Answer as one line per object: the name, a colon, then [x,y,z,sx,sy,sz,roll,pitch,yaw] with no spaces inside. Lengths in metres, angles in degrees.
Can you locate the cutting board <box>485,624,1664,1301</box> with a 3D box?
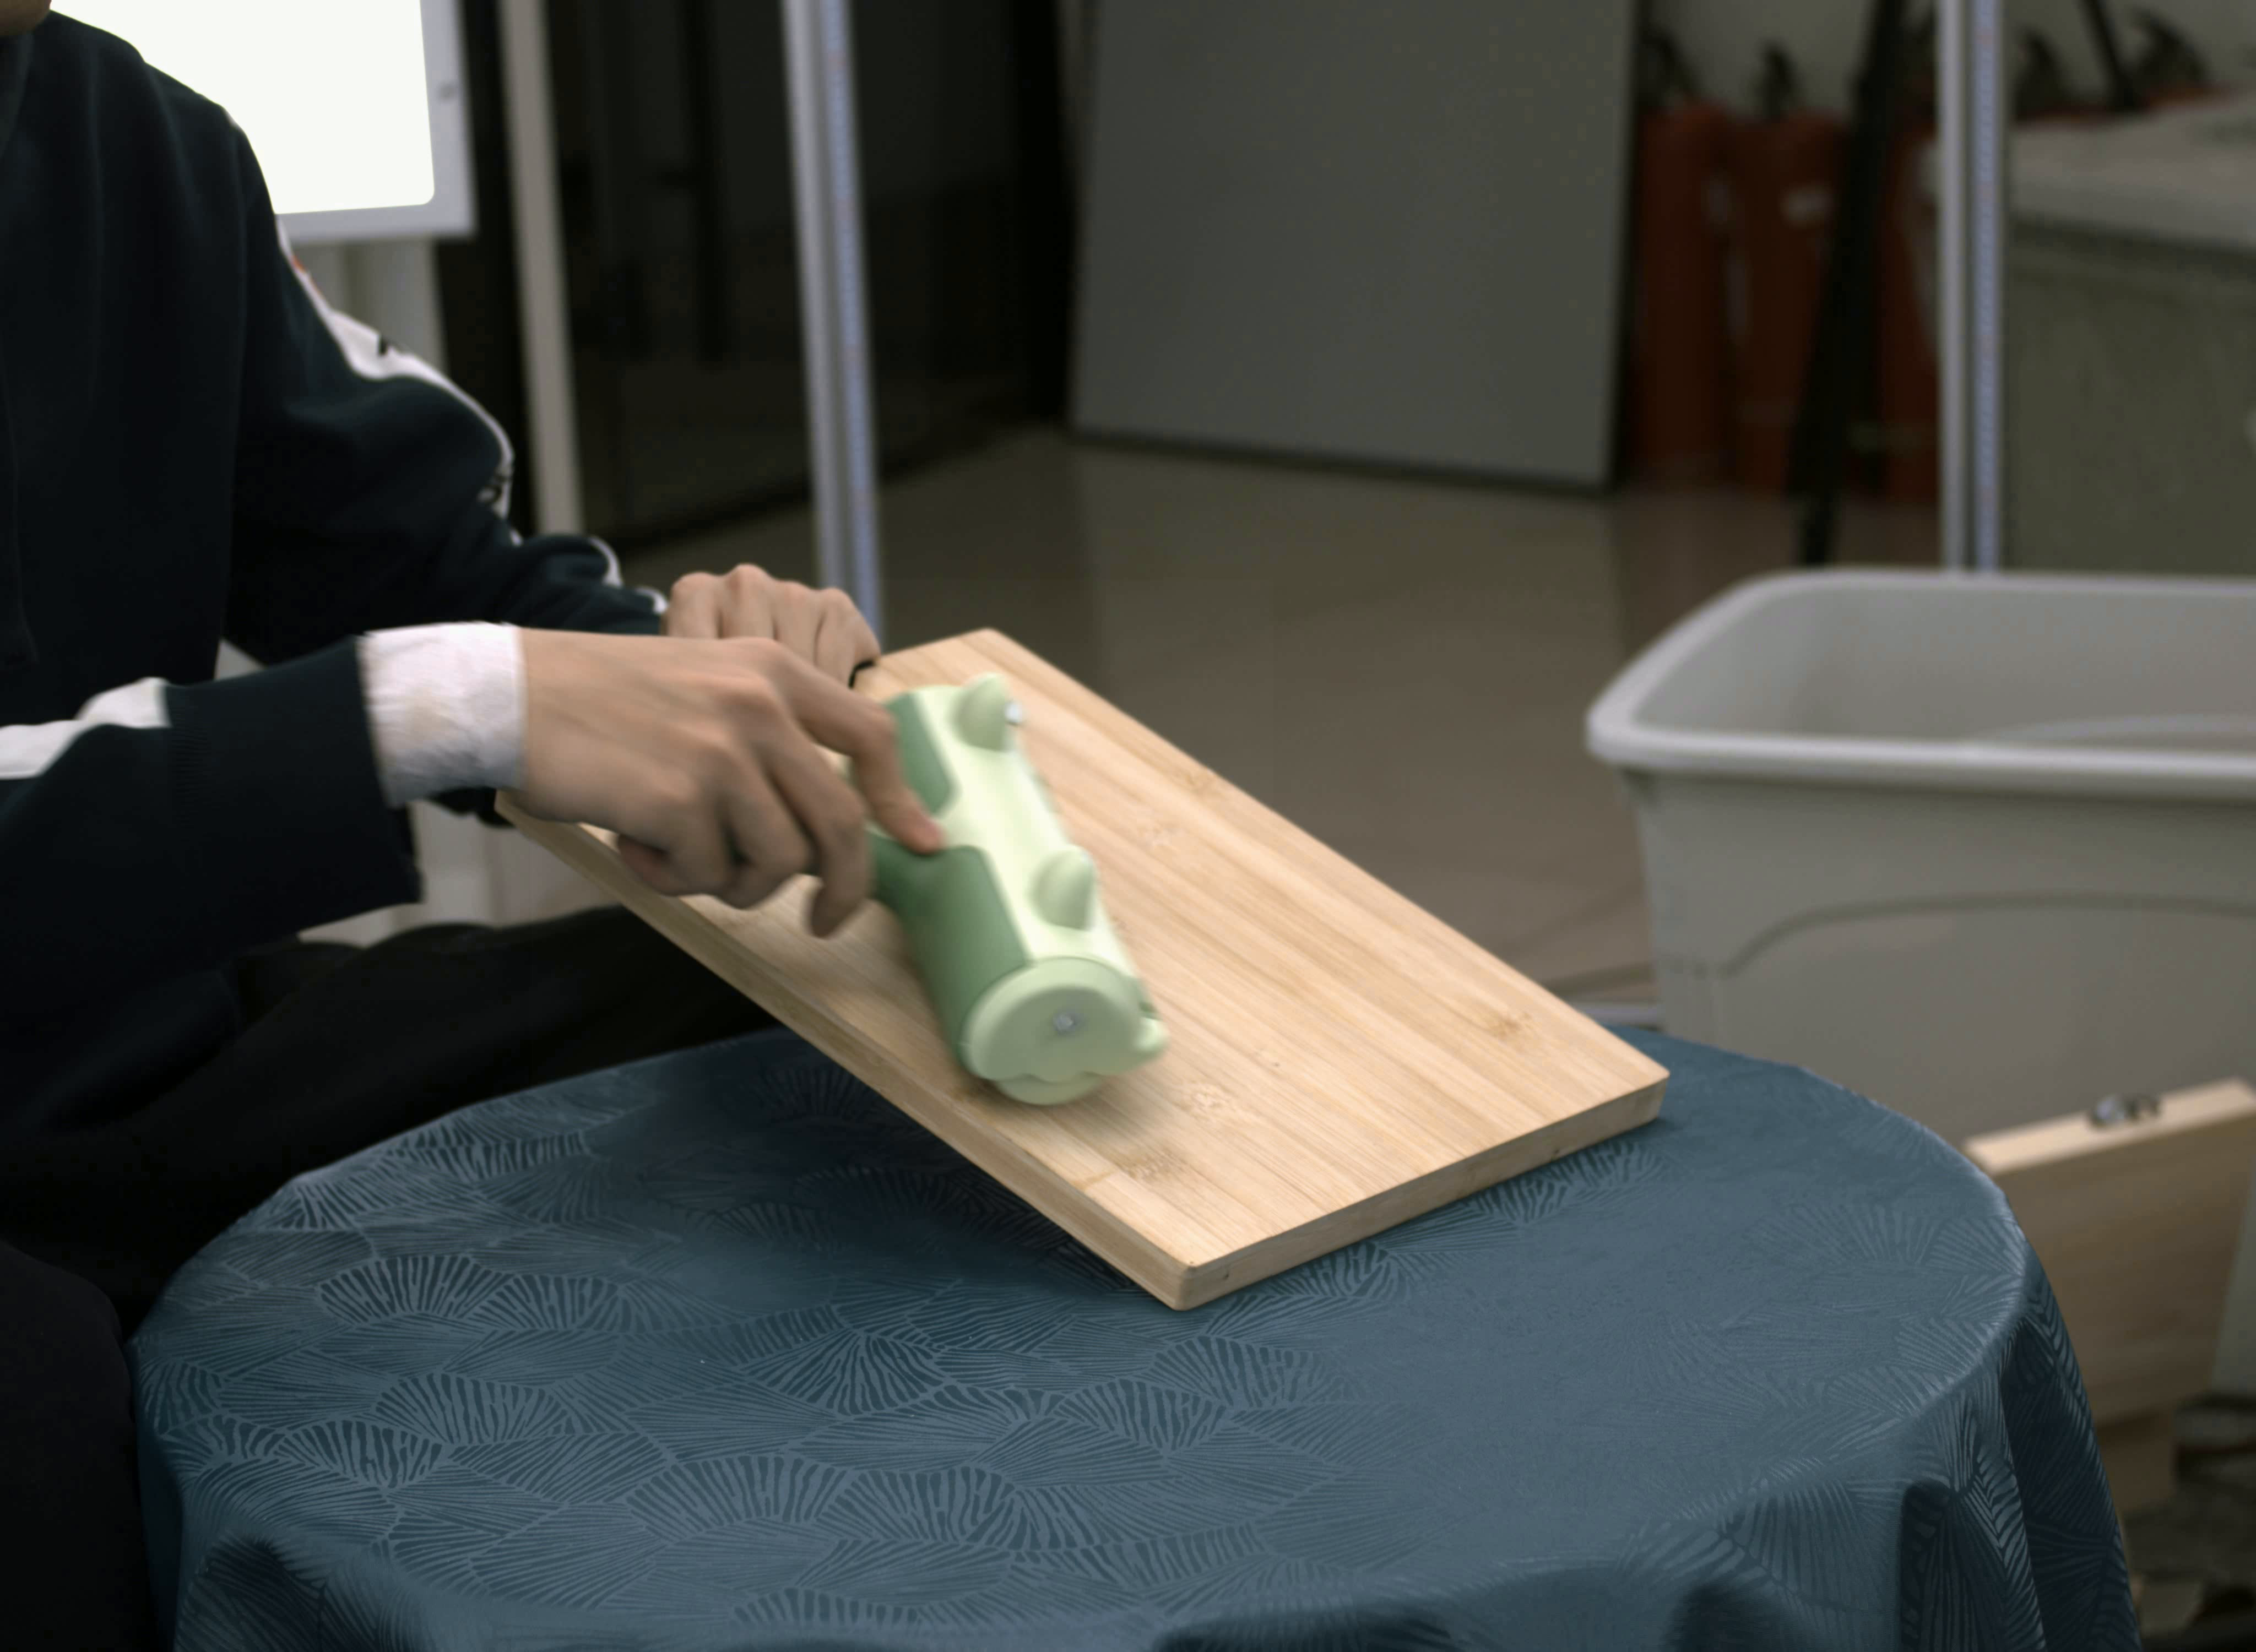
cutting board: [-0.020,0.038,1.828,0.245,0.024,0.352,-17,40,-43]

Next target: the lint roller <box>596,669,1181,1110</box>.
lint roller: [-0.078,-0.006,1.744,0.180,0.083,0.200,25,21,-25]
